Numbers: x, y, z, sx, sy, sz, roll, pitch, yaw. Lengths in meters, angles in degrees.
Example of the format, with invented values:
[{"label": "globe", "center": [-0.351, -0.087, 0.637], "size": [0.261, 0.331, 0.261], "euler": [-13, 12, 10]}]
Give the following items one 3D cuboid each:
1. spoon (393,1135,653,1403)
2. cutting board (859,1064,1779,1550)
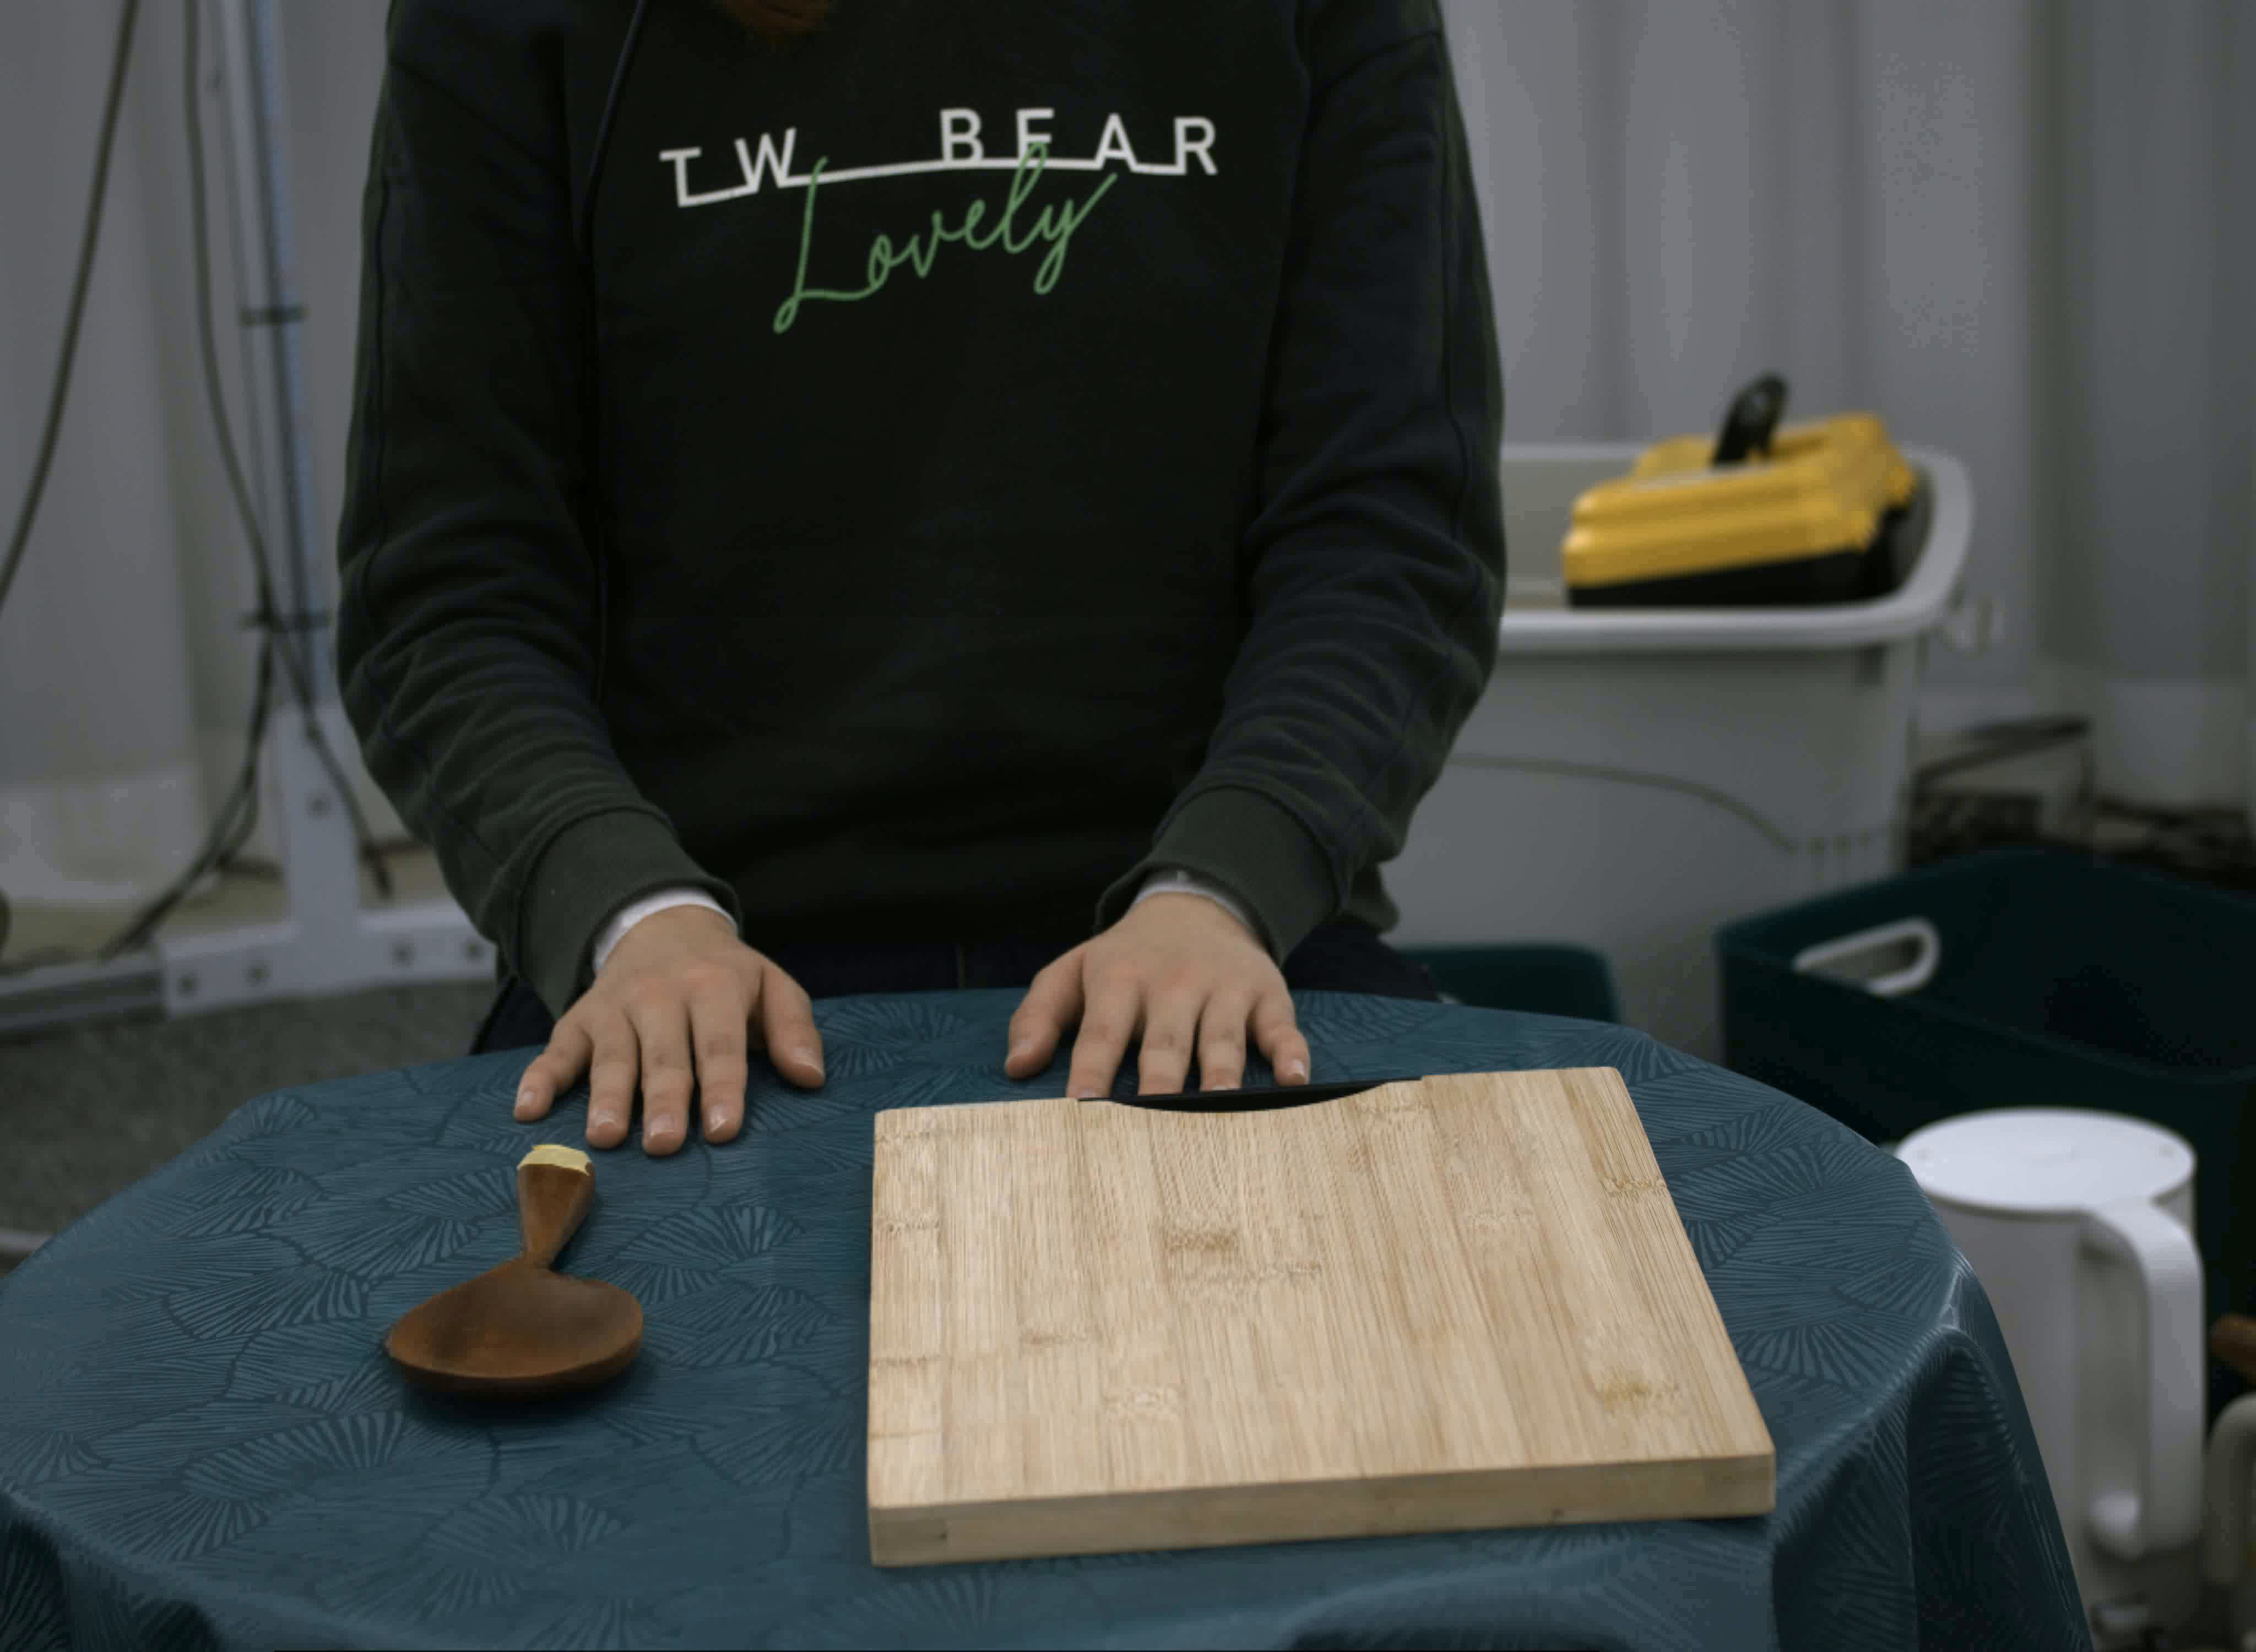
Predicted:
[{"label": "spoon", "center": [-0.177, 0.134, 1.641], "size": [0.075, 0.017, 0.217], "euler": [-5, 16, -1]}, {"label": "cutting board", "center": [0.045, 0.135, 1.598], "size": [0.250, 0.023, 0.351], "euler": [-3, 15, -2]}]
